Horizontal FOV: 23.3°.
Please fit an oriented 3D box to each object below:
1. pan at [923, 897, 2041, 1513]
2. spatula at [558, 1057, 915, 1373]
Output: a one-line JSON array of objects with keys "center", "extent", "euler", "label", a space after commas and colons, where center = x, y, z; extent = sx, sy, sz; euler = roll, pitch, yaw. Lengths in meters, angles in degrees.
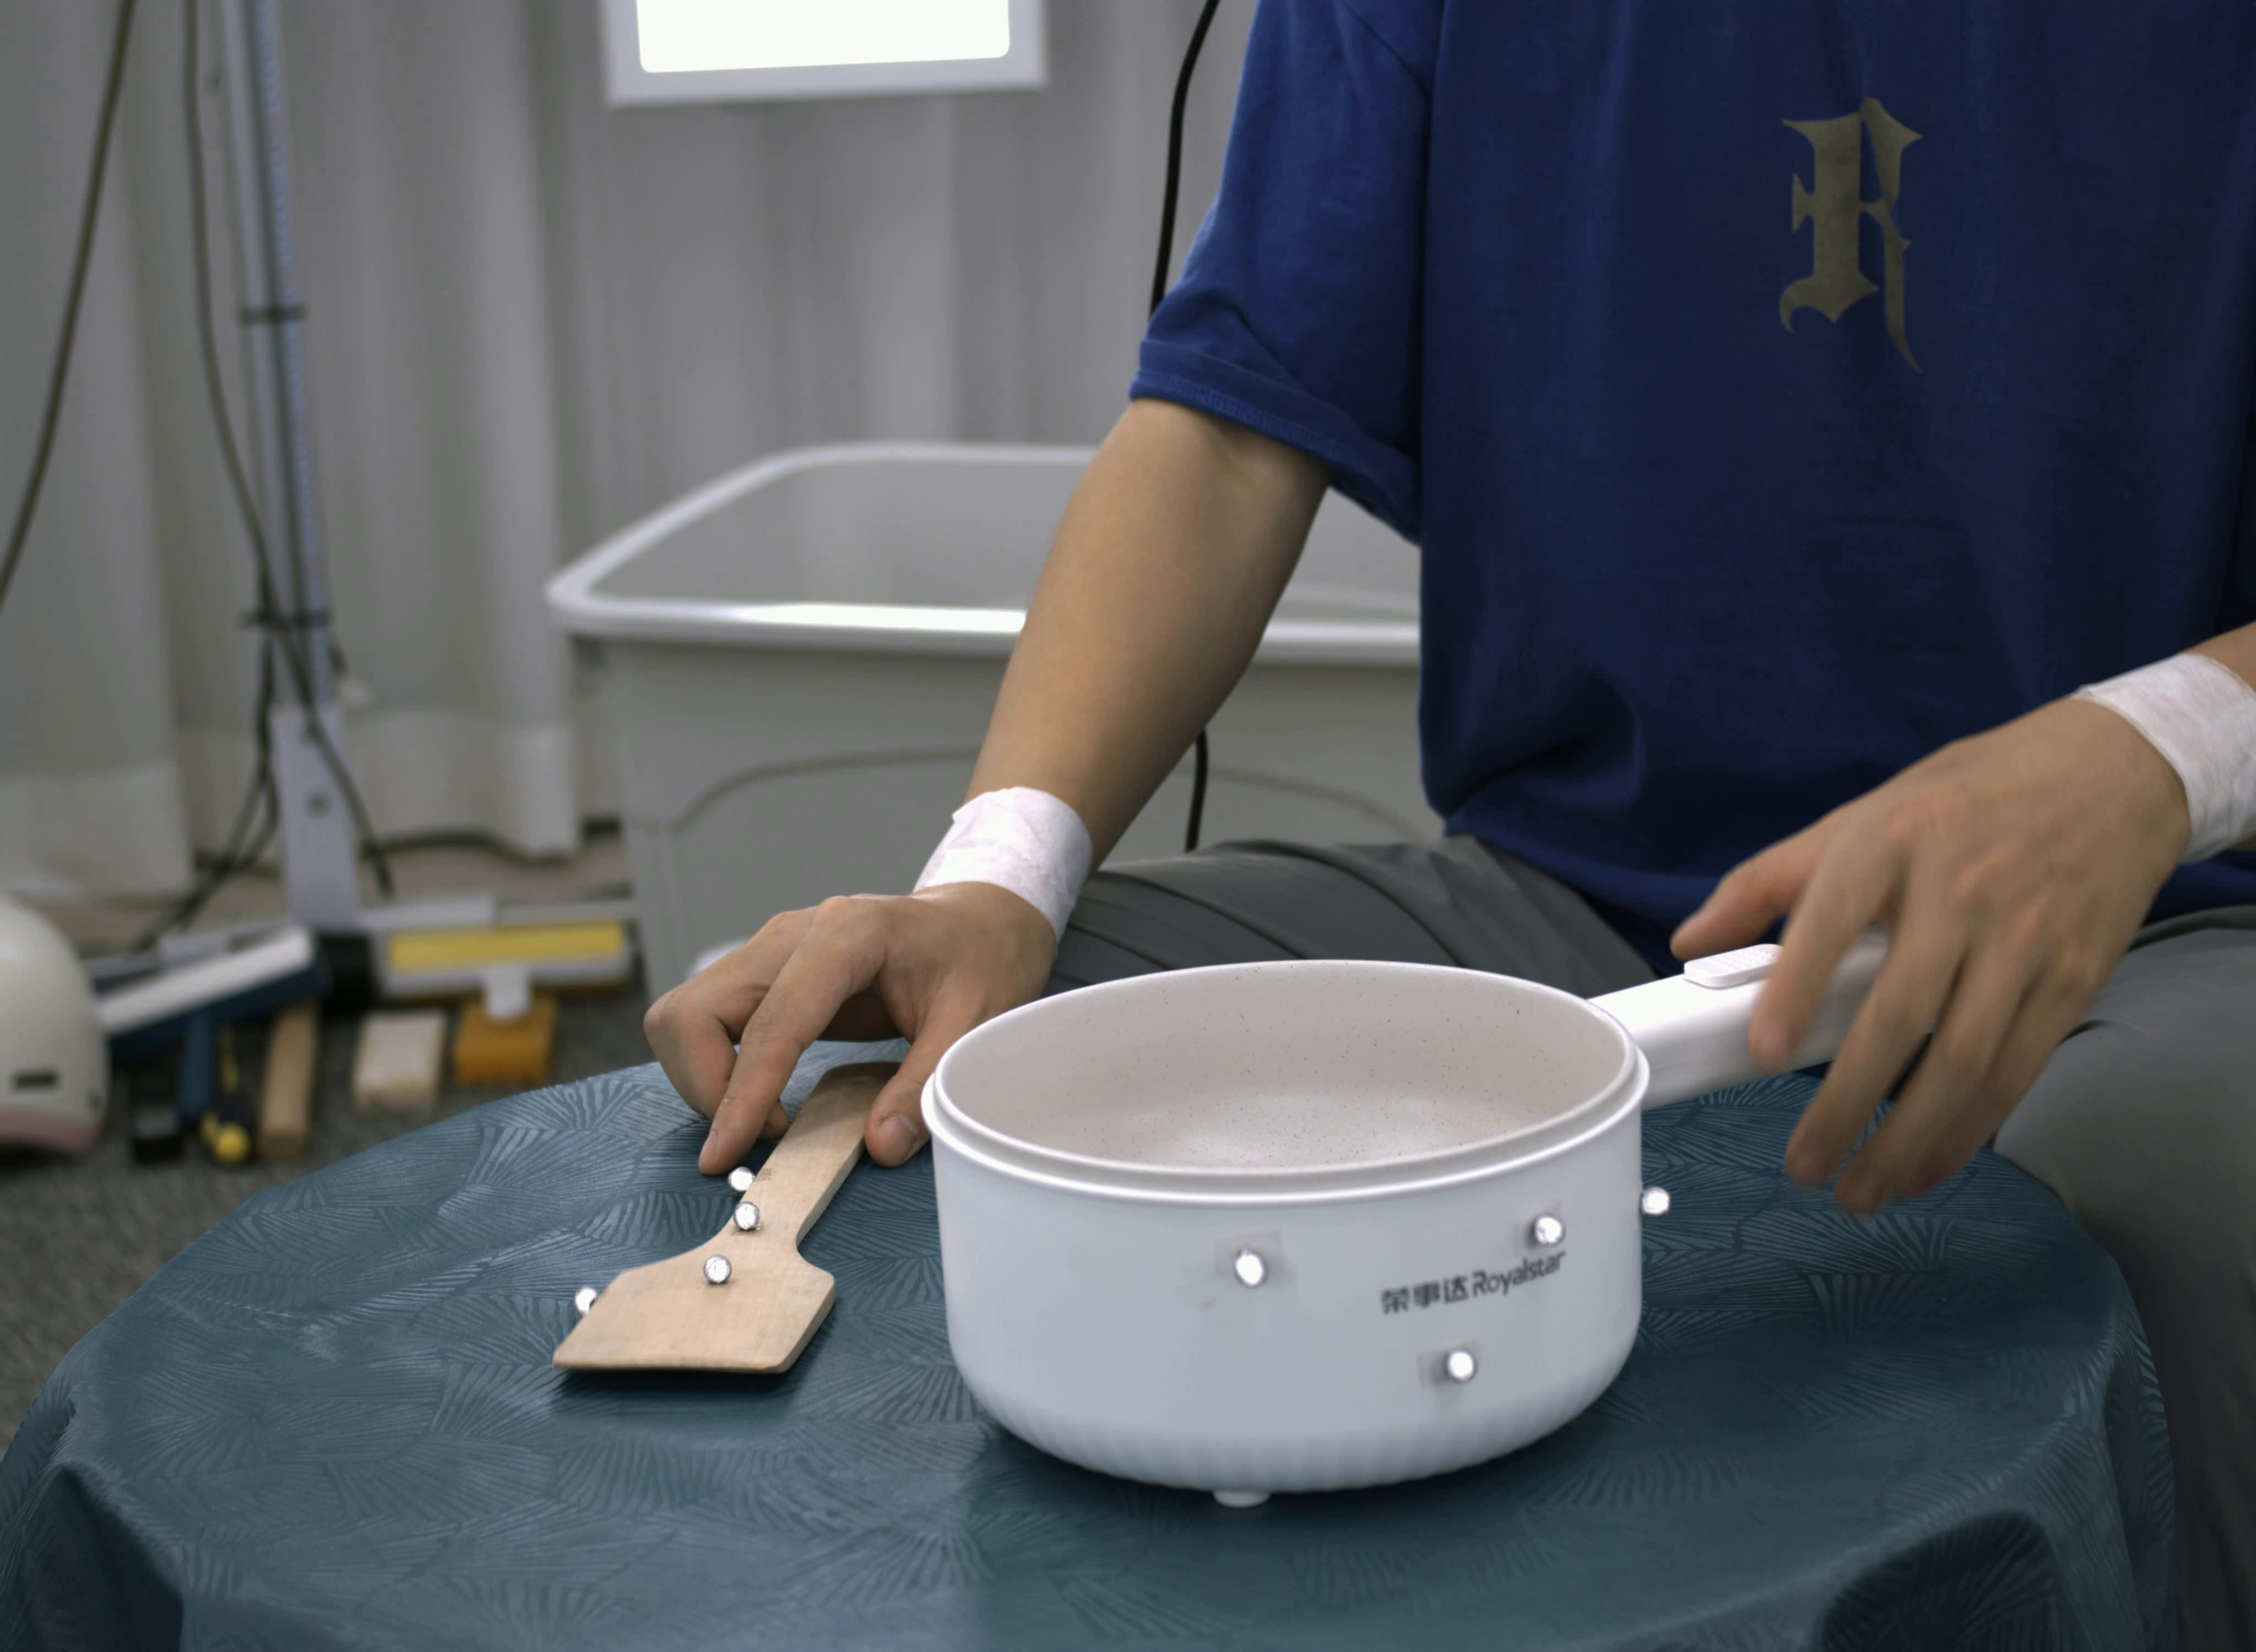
[{"center": [0.111, 0.101, 1.553], "extent": [0.353, 0.102, 0.202], "euler": [-12, 15, -30], "label": "pan"}, {"center": [-0.108, 0.118, 1.698], "extent": [0.072, 0.010, 0.294], "euler": [1, 15, 9], "label": "spatula"}]
